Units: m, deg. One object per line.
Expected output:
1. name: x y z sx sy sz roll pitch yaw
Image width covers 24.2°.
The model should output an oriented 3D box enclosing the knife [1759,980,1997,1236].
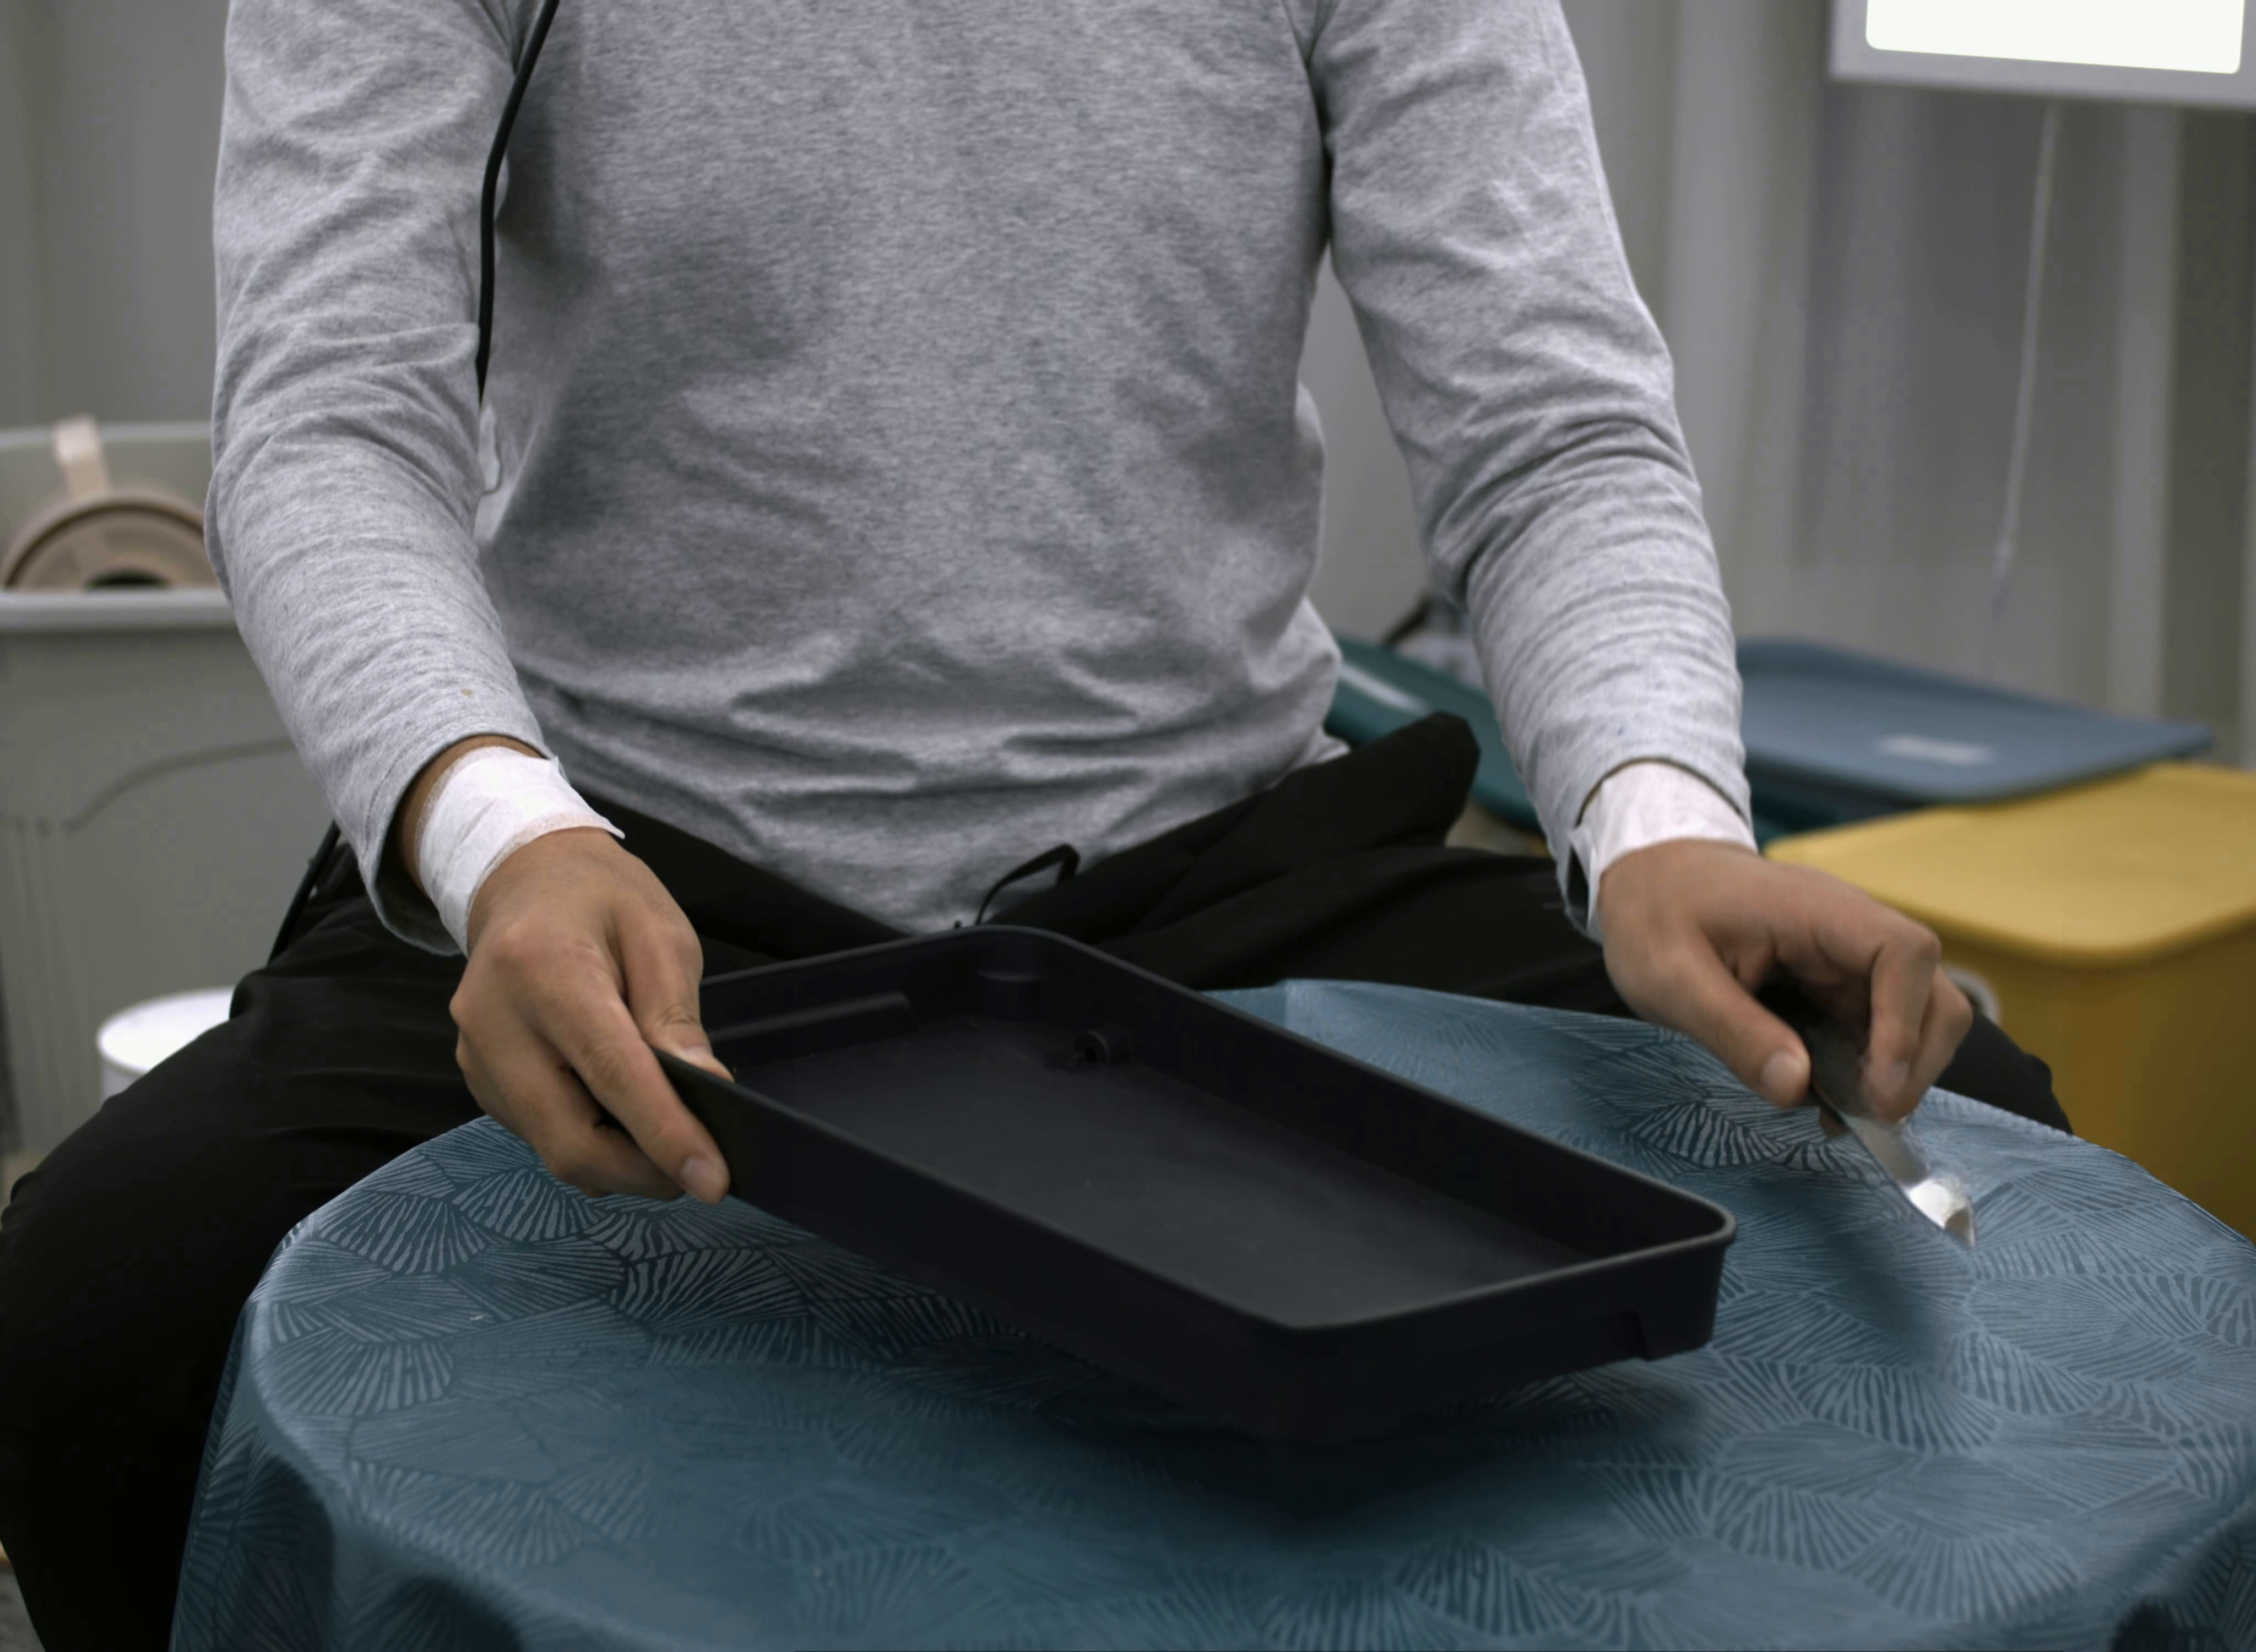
1. knife: 0.223 0.084 1.579 0.024 0.016 0.236 1 14 -8

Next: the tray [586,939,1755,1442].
1. tray: 0.006 0.097 1.495 0.185 0.037 0.313 -9 20 -44
